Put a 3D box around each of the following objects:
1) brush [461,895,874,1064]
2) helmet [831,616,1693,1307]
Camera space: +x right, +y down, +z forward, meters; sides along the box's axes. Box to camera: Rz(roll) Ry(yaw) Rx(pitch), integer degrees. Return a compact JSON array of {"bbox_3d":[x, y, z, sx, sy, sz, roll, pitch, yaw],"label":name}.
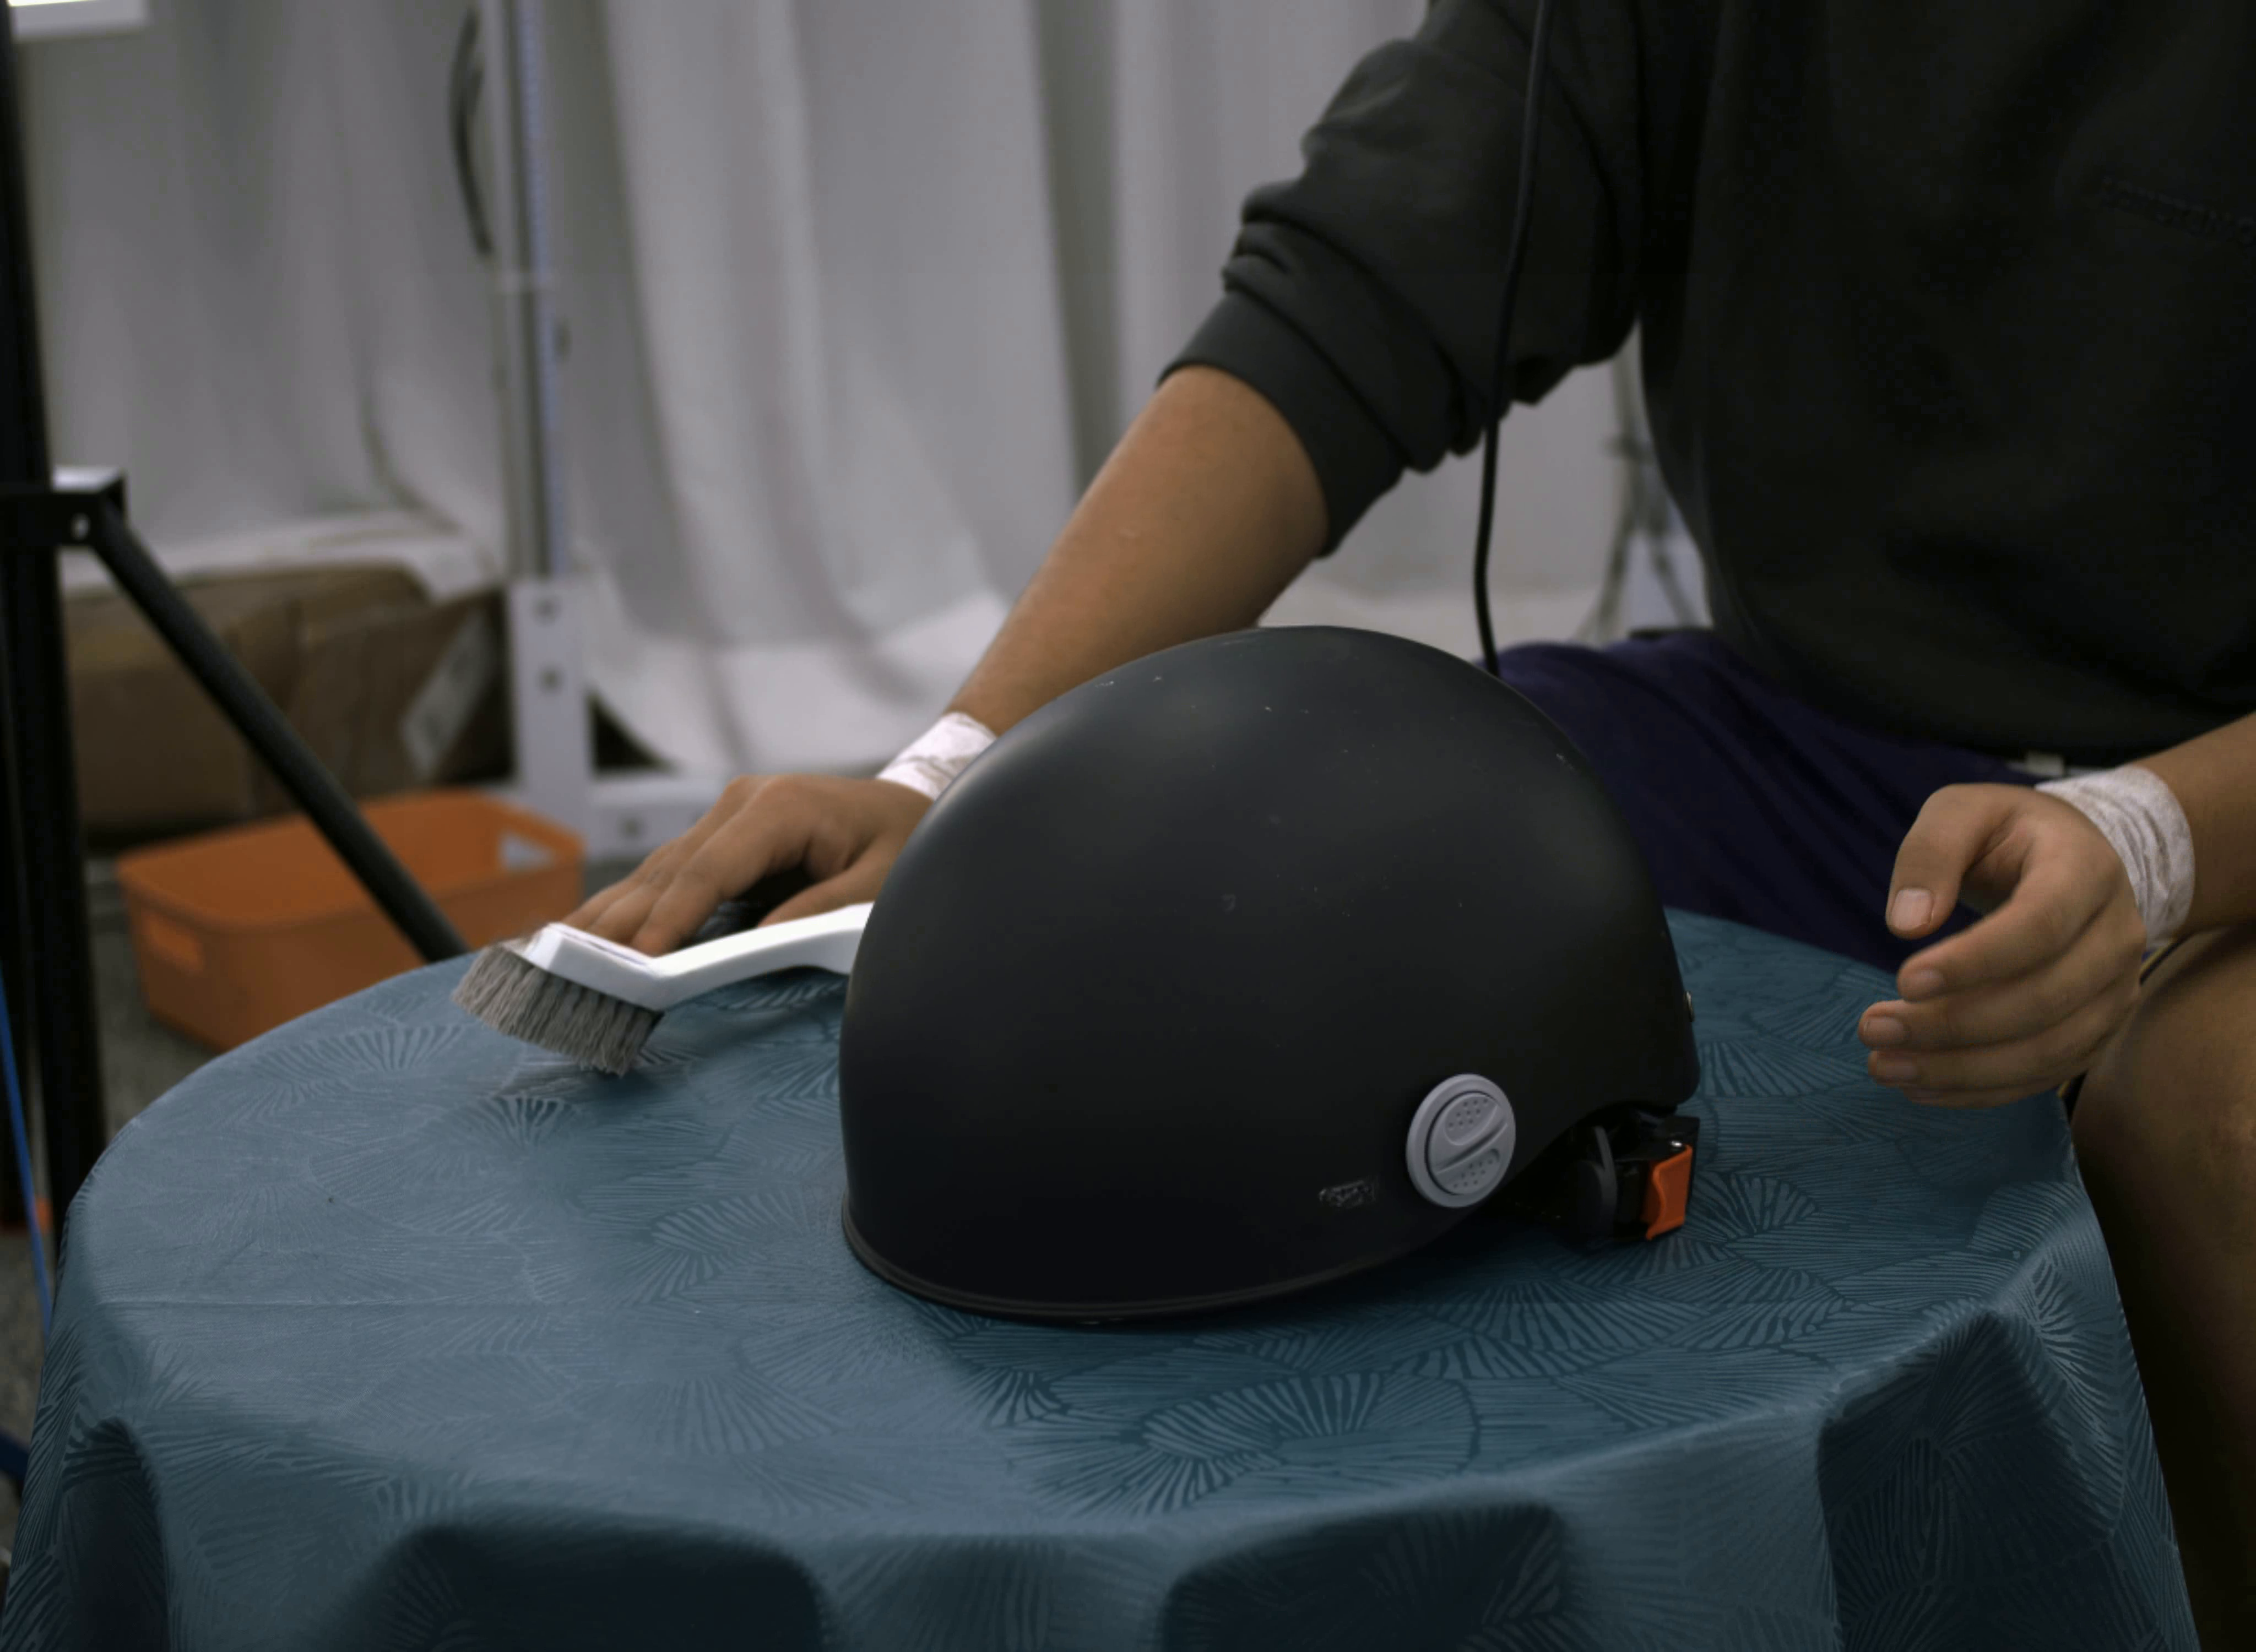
[{"bbox_3d":[-0.115,0.049,1.741,0.237,0.050,0.035,0,18,-45],"label":"brush"},{"bbox_3d":[0.034,0.029,1.547,0.267,0.166,0.235,-19,19,-40],"label":"helmet"}]
